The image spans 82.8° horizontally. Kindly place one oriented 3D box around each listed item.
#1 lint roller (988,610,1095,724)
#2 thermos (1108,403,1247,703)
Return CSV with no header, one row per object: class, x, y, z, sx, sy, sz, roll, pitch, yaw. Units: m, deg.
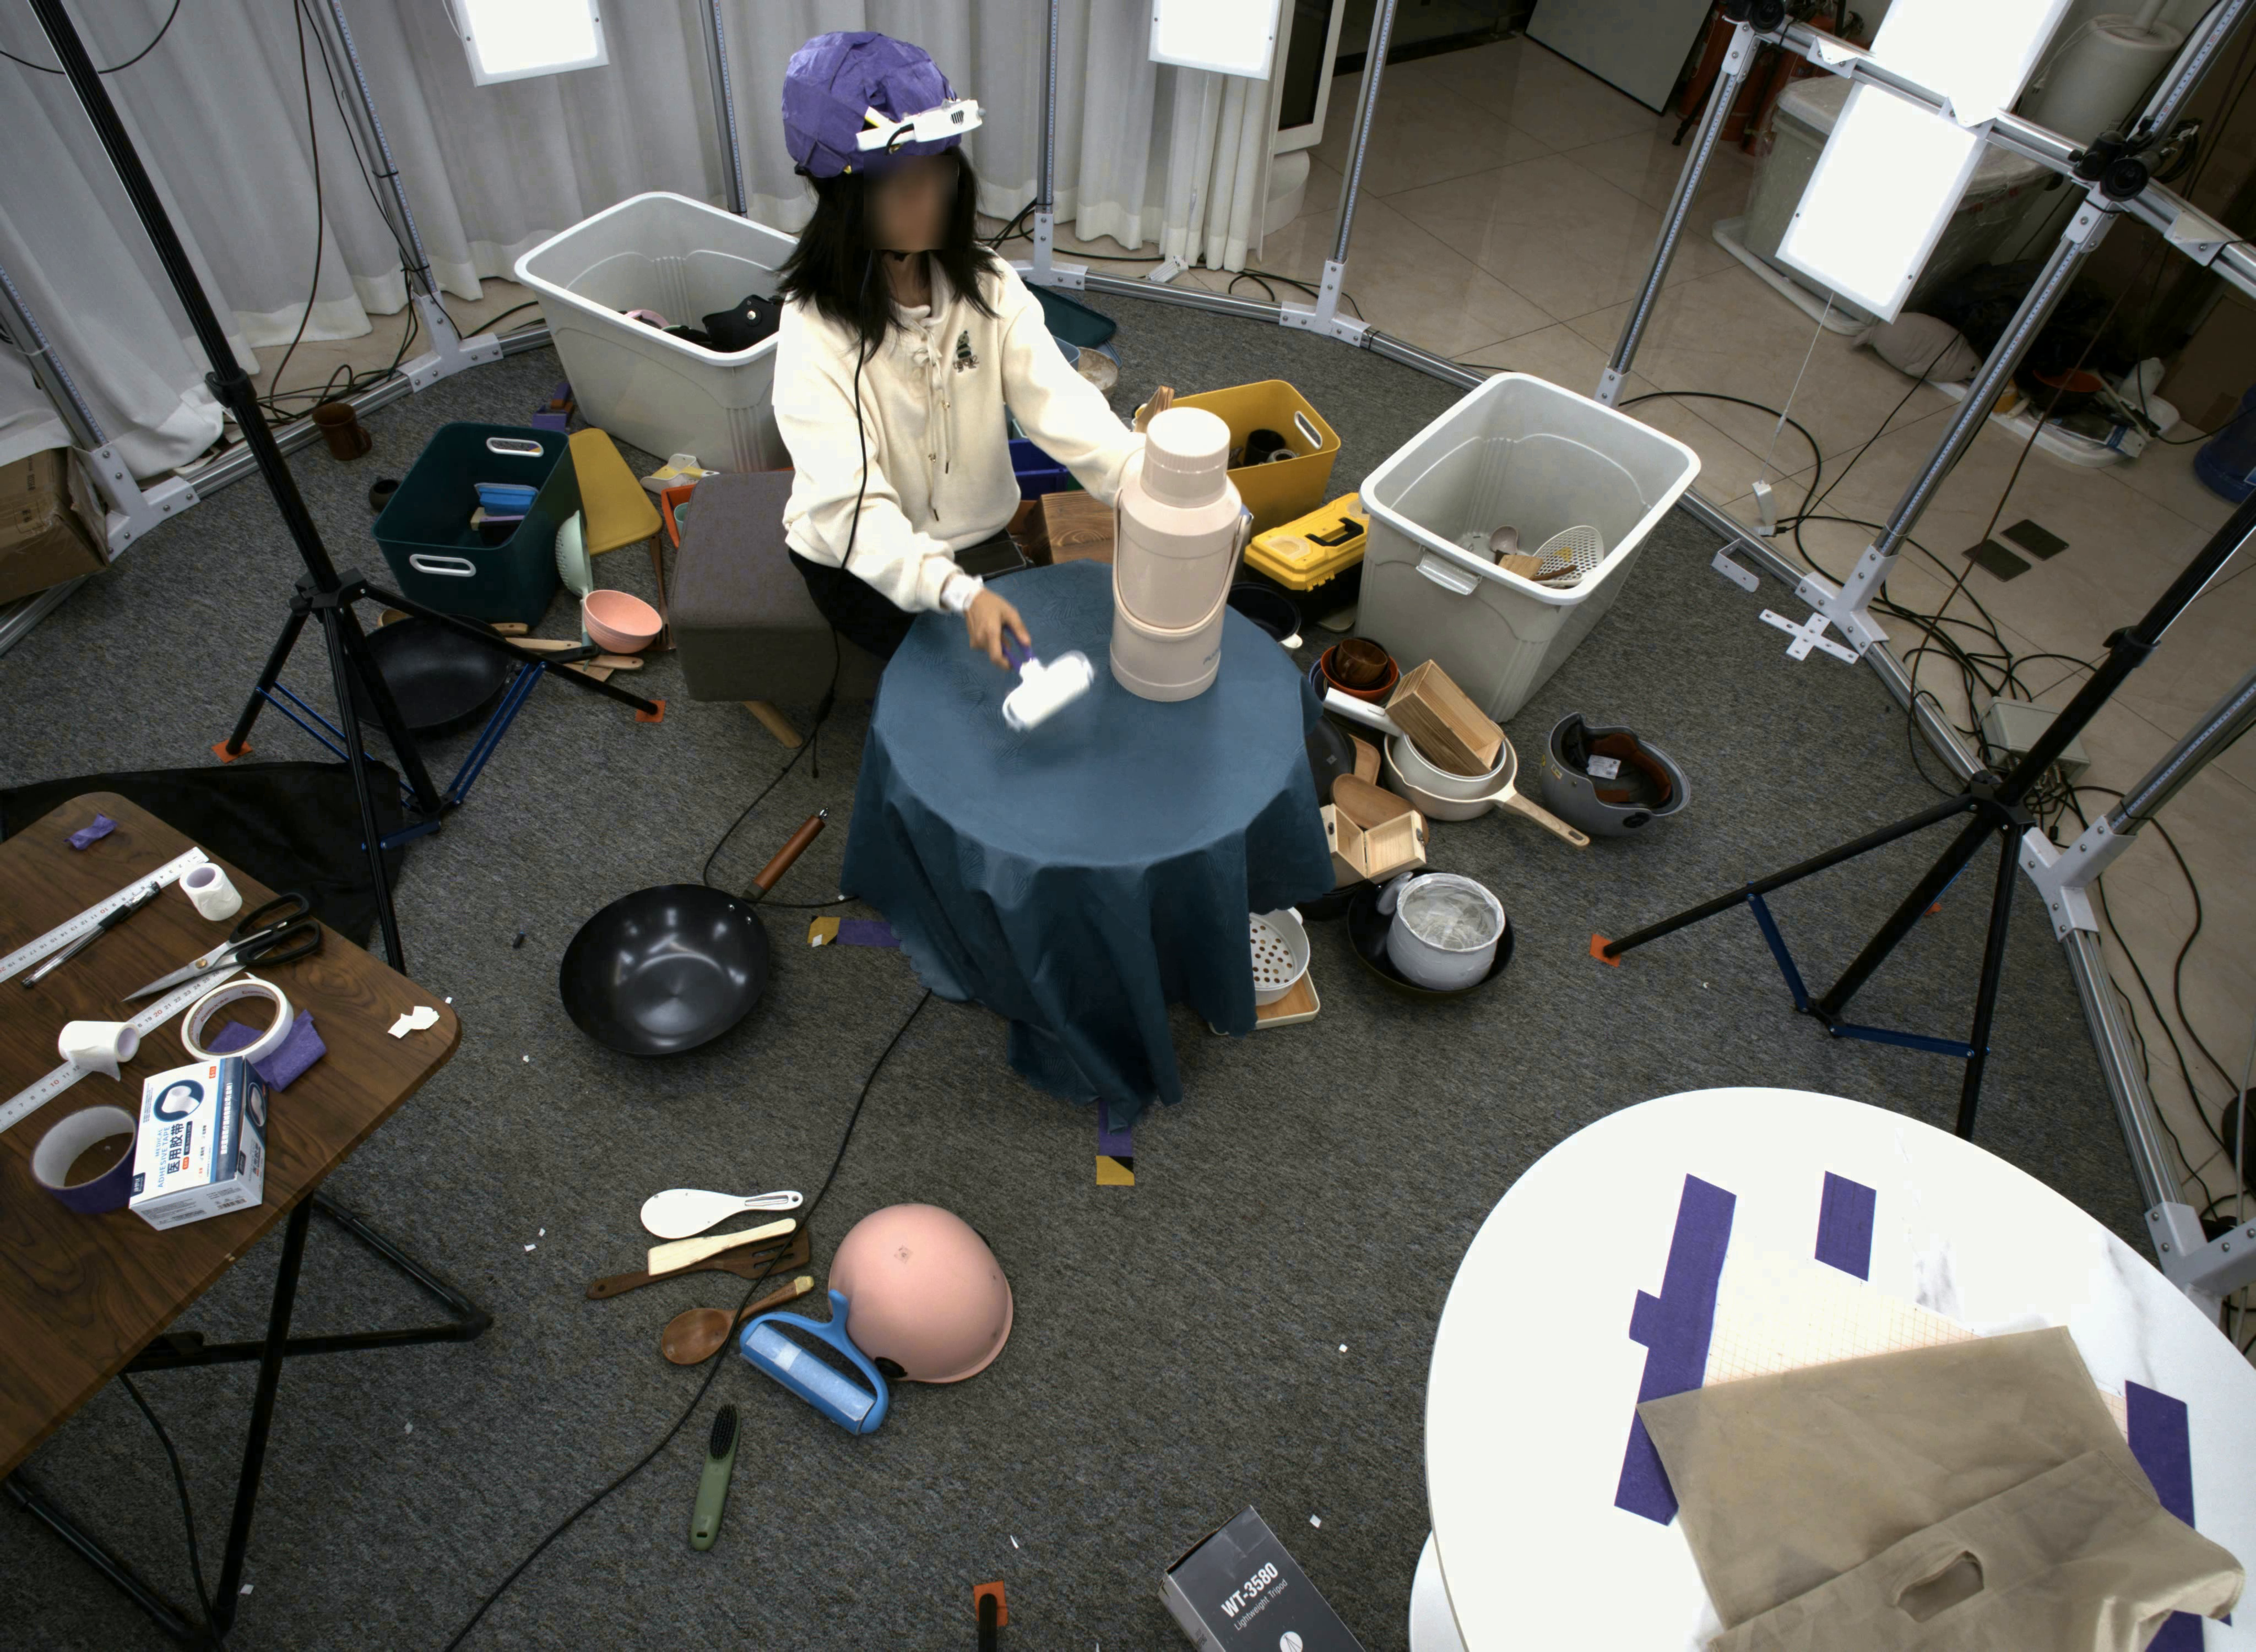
lint roller,-0.138,-0.237,1.742,0.133,0.049,0.183,-37,69,0
thermos,0.068,-0.371,1.741,0.176,0.396,0.211,14,49,8
